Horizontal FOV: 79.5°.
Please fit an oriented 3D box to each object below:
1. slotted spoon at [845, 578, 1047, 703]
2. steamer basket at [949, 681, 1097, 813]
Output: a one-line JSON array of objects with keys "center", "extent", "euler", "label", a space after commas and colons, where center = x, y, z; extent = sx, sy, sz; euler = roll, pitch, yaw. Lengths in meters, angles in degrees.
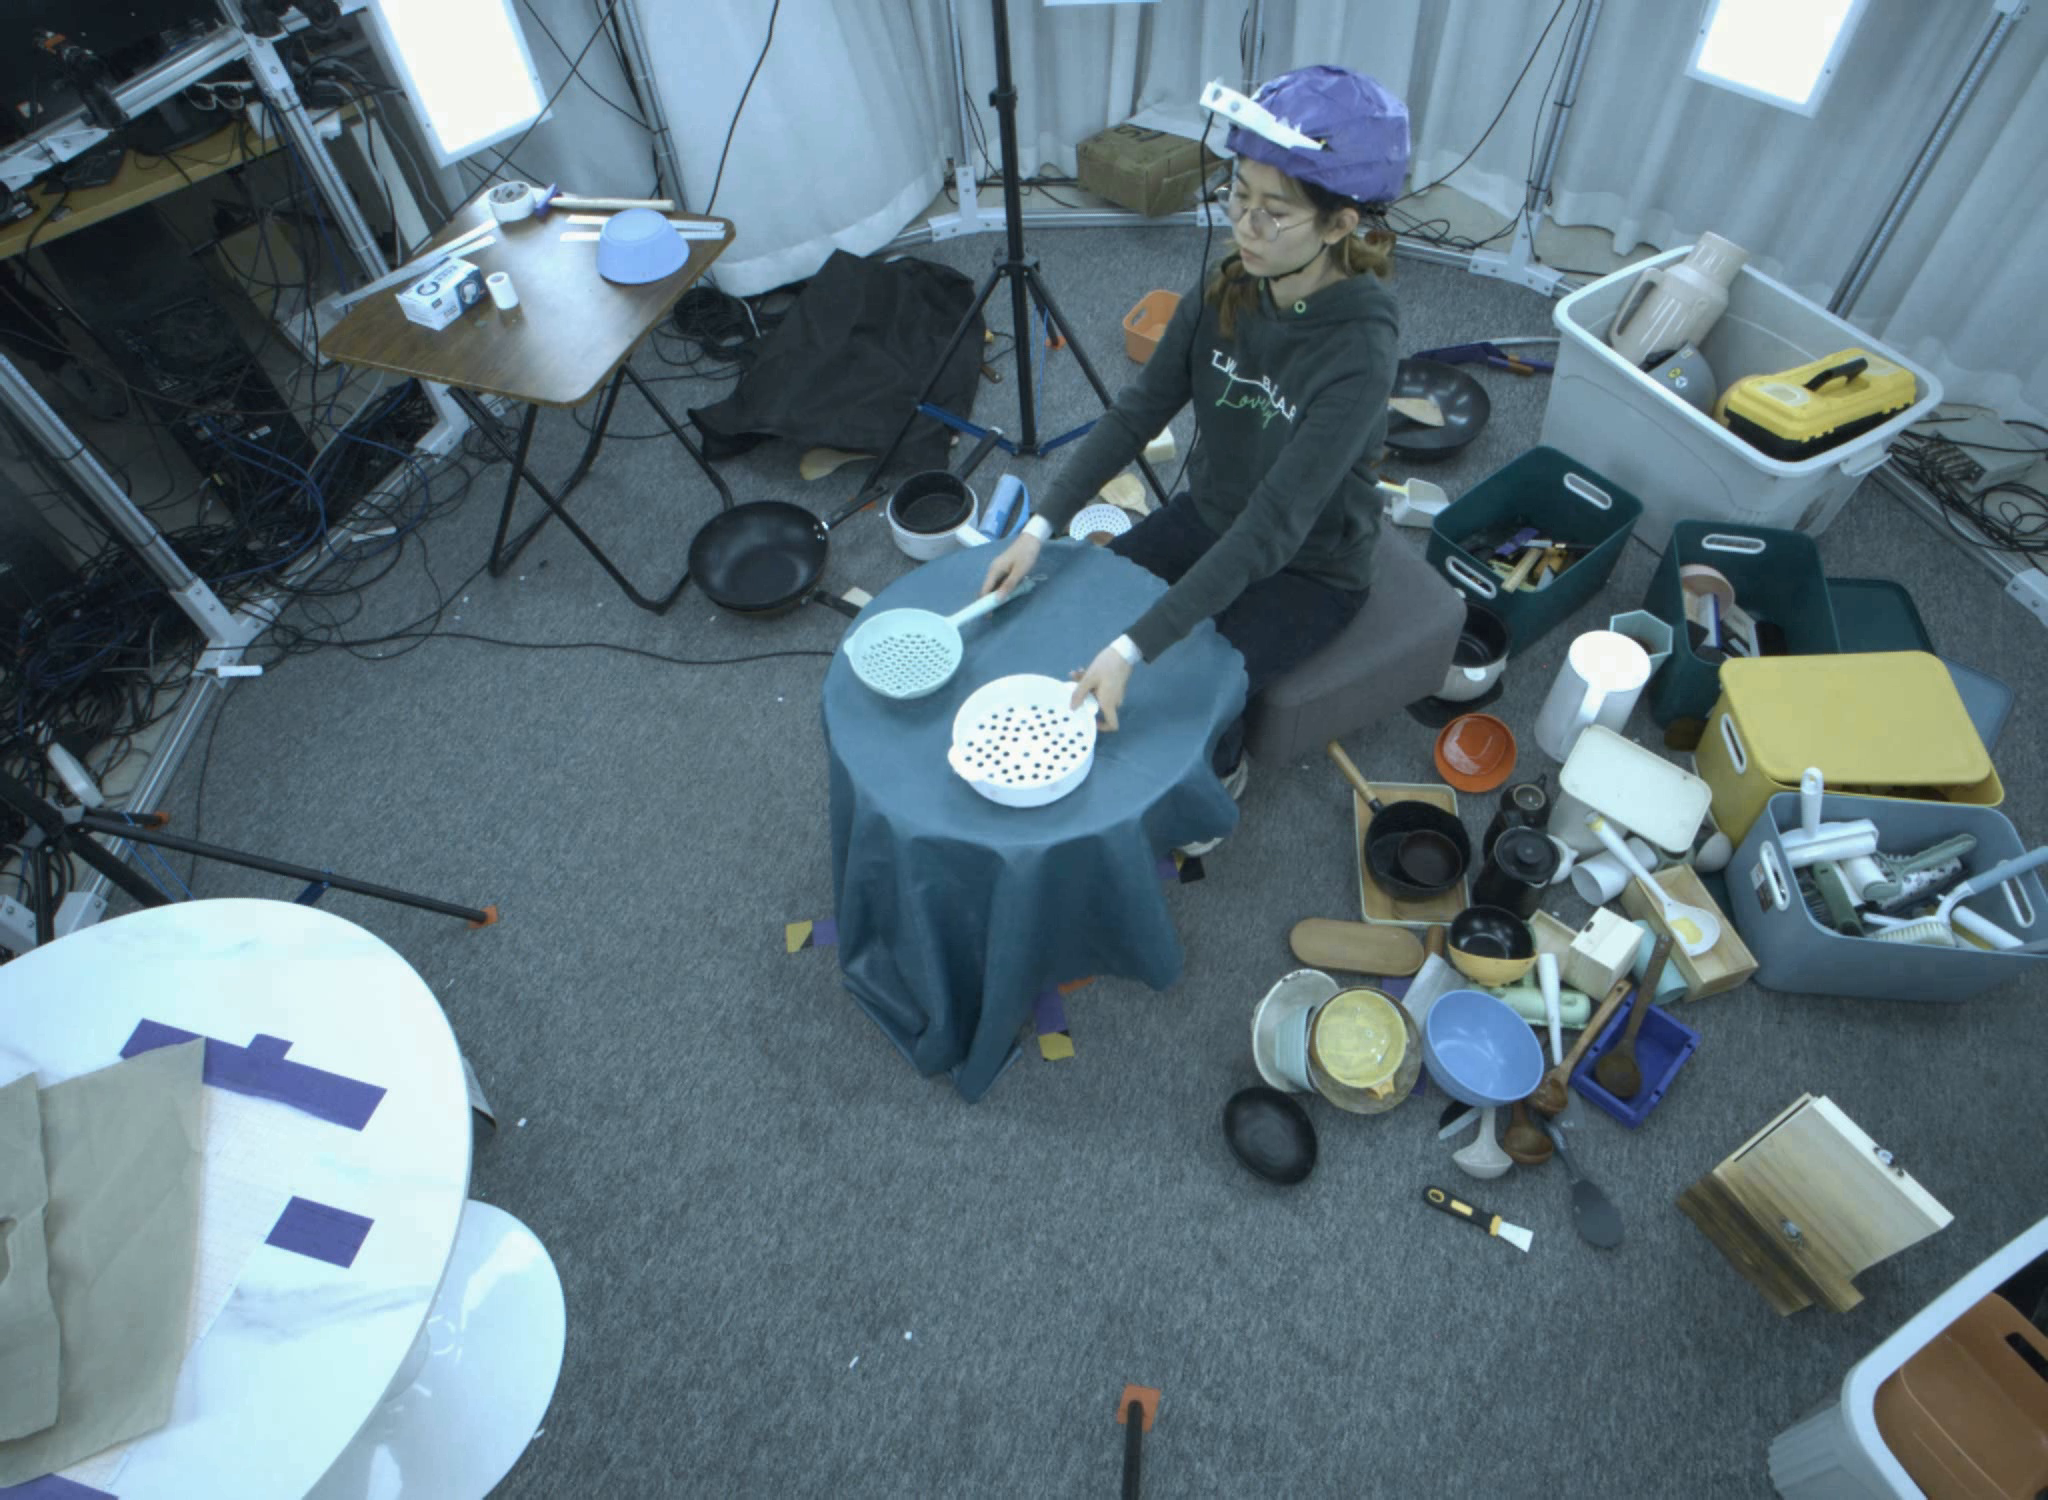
[{"center": [-0.102, -0.188, 1.889], "extent": [0.361, 0.076, 0.166], "euler": [-38, 65, -20], "label": "slotted spoon"}, {"center": [0.001, -0.002, 1.760], "extent": [0.232, 0.070, 0.198], "euler": [-31, 60, -19], "label": "steamer basket"}]
